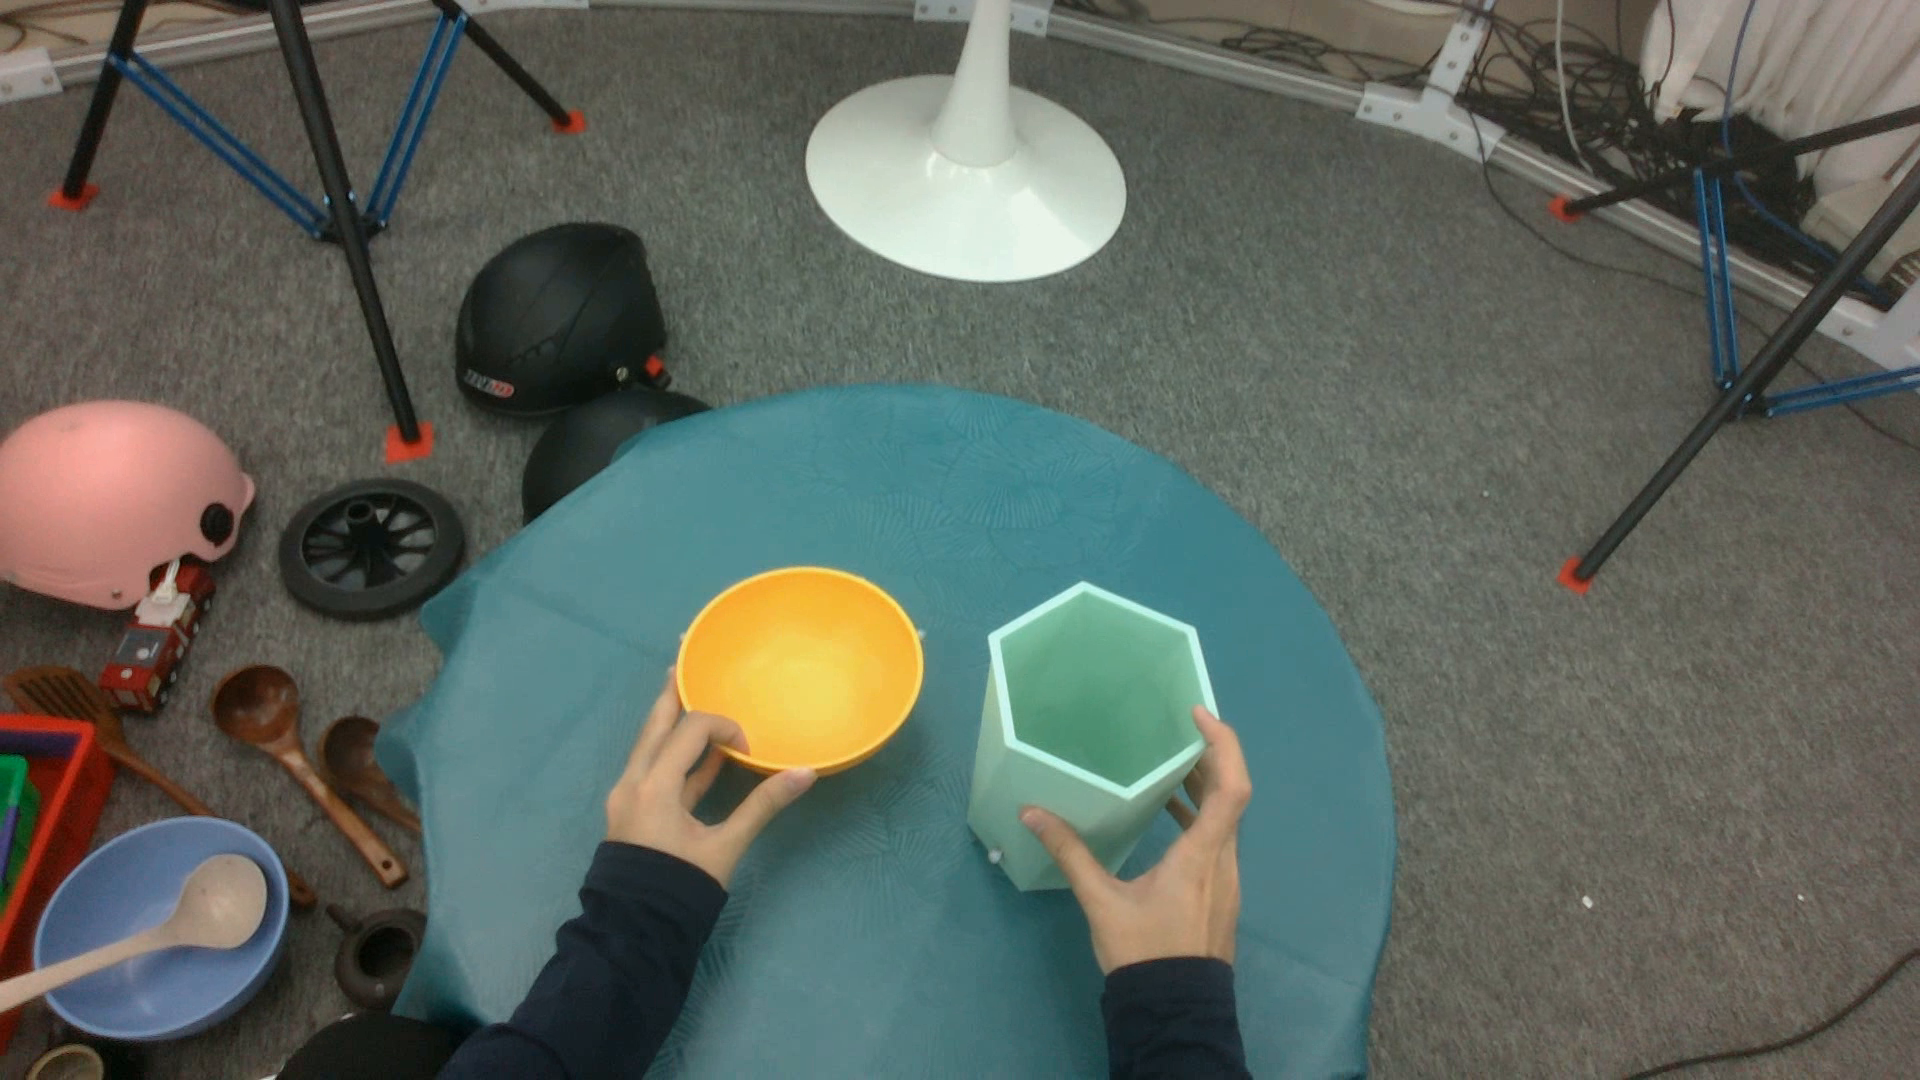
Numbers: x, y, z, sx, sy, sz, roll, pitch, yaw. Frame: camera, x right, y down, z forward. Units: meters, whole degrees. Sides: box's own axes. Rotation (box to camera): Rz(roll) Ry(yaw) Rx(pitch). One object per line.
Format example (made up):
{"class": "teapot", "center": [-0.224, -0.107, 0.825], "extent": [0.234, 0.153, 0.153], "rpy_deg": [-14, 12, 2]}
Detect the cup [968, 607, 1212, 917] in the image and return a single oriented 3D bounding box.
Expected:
{"class": "cup", "center": [0.063, 0.136, 0.783], "extent": [0.131, 0.162, 0.116], "rpy_deg": [20, 53, 8]}

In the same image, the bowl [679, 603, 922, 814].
{"class": "bowl", "center": [-0.095, 0.112, 0.845], "extent": [0.145, 0.060, 0.146], "rpy_deg": [1, 51, -1]}
